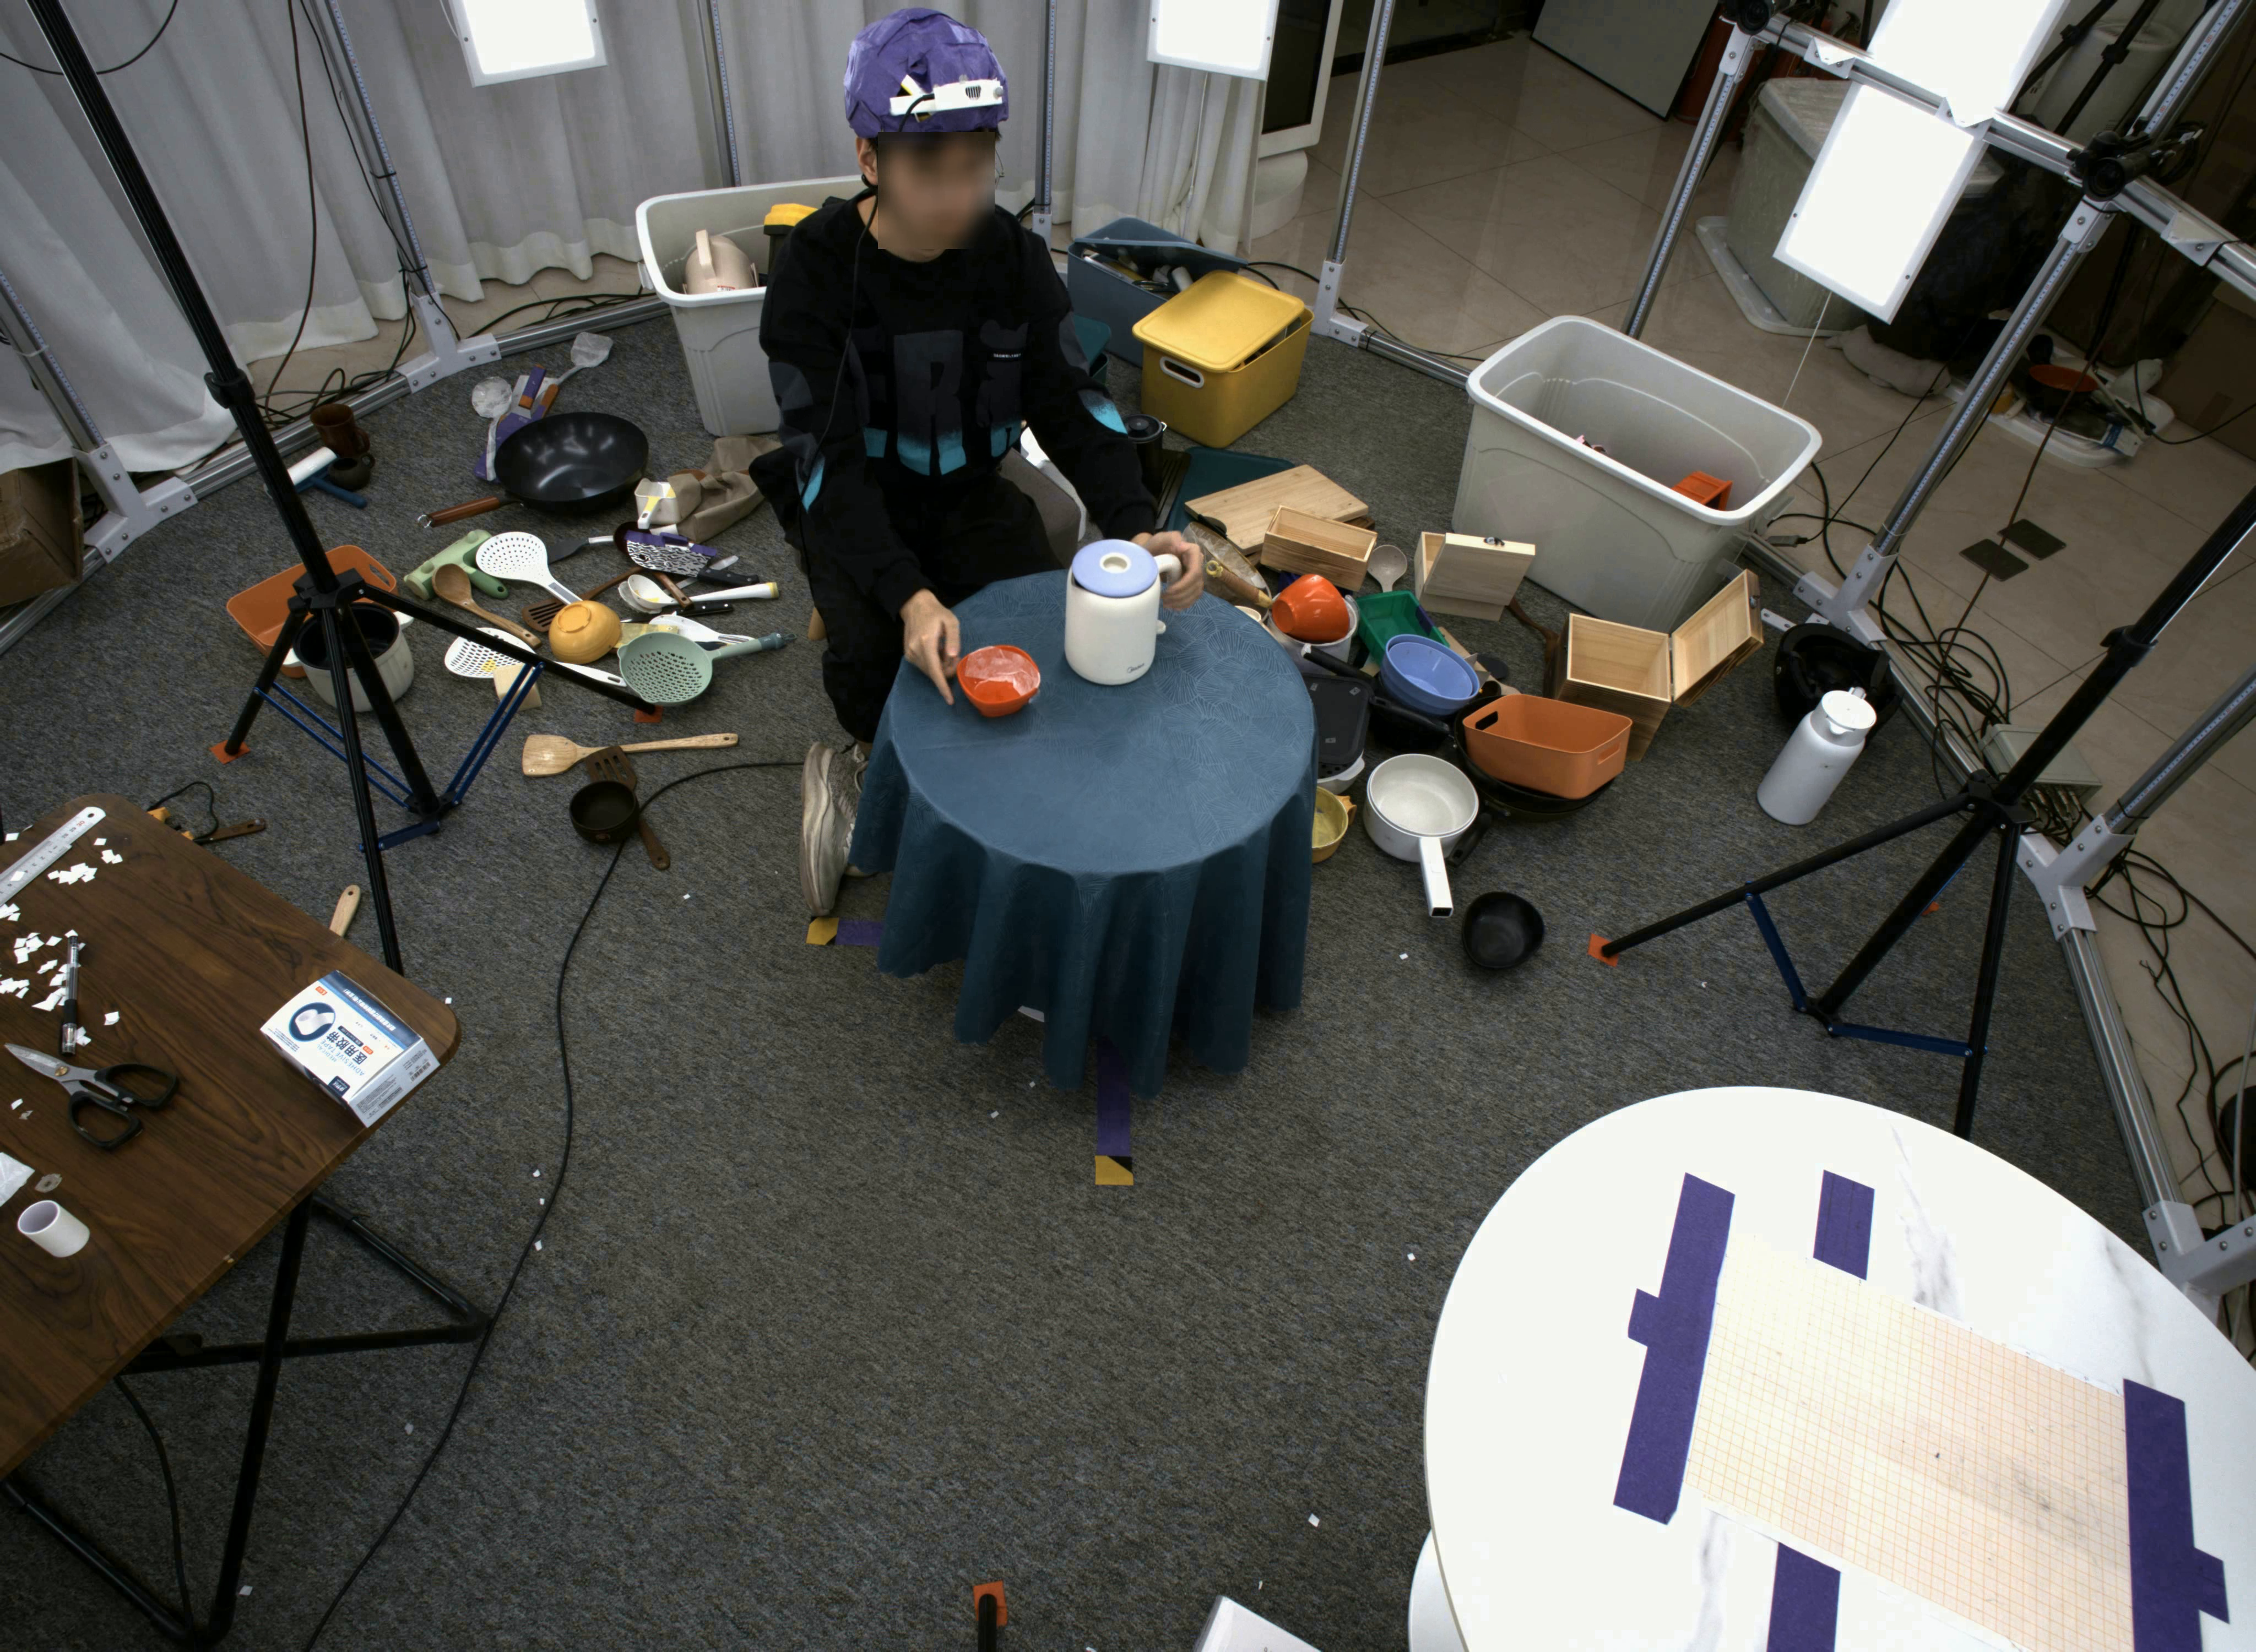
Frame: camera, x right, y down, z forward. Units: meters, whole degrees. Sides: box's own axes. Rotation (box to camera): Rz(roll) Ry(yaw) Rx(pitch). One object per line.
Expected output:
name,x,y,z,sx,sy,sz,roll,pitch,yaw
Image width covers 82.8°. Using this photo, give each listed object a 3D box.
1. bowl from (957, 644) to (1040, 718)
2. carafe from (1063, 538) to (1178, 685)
bowl,-0.180,-0.196,1.795,0.119,0.050,0.122,0,53,-1
carafe,-0.004,-0.313,1.830,0.192,0.178,0.134,-26,57,-27
